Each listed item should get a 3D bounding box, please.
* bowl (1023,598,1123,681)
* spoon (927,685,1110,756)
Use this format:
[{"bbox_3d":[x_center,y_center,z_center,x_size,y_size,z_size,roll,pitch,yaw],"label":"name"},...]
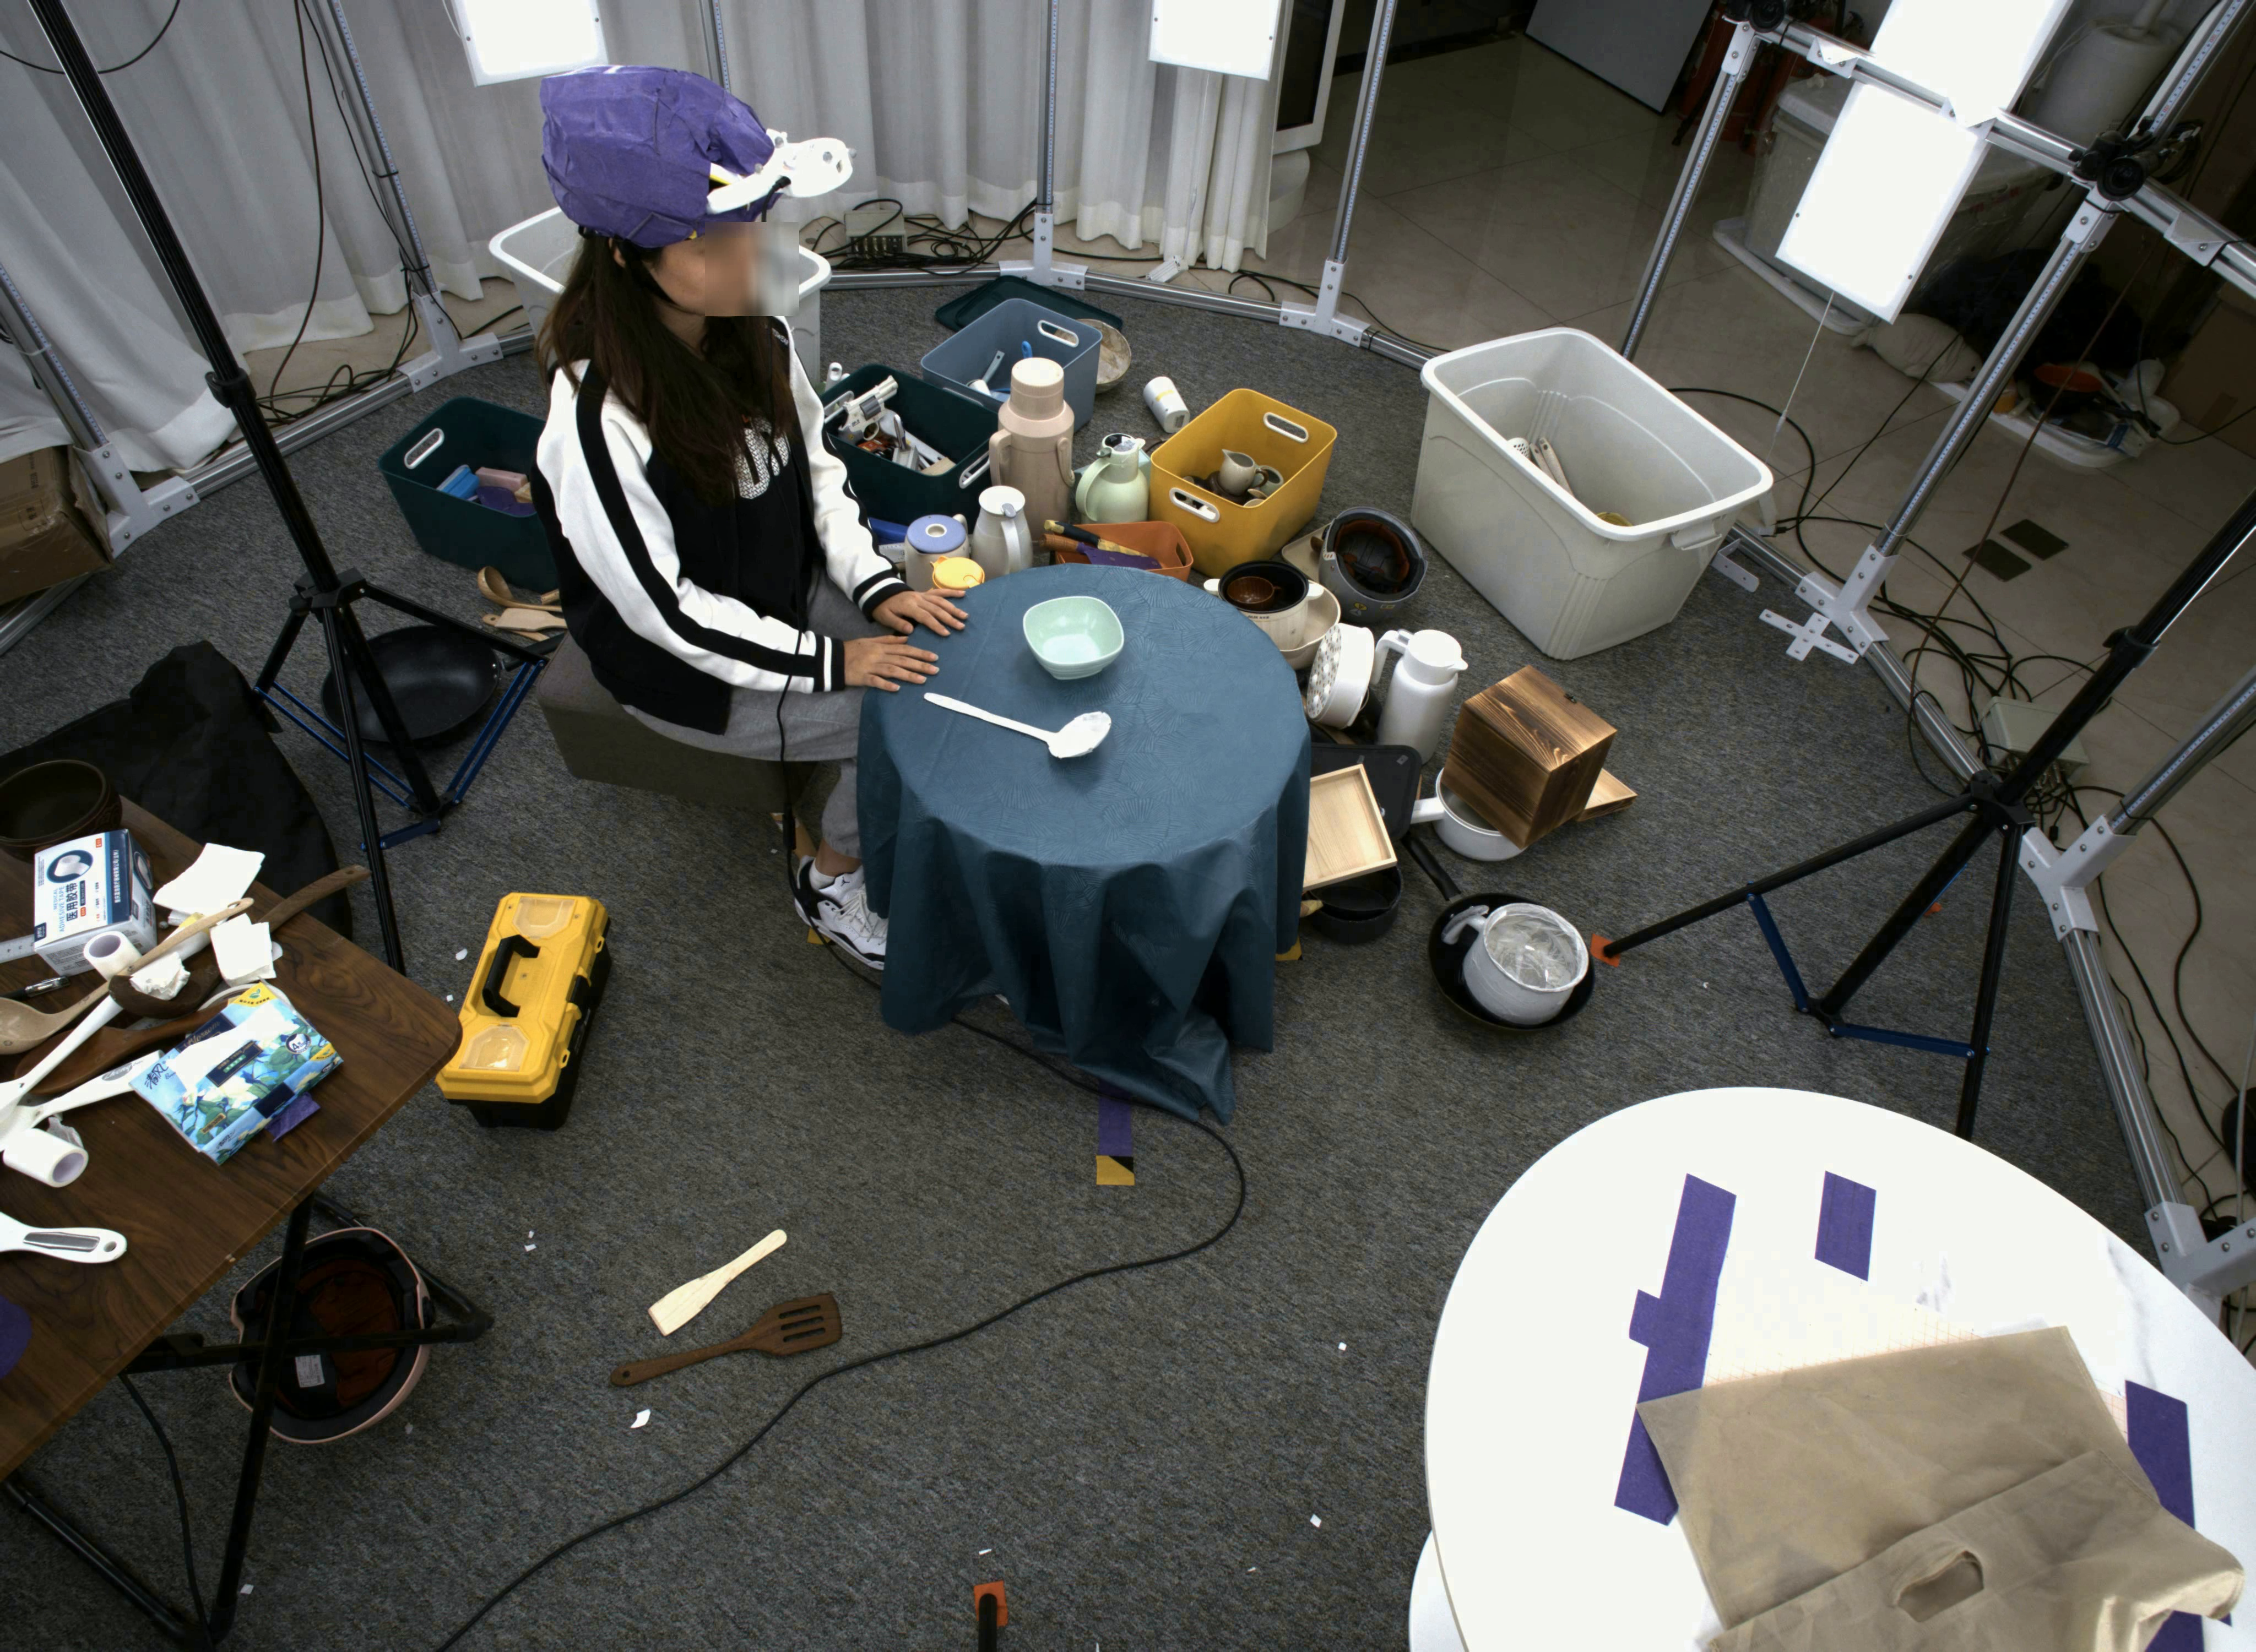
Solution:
[{"bbox_3d":[-0.080,-0.261,1.858,0.151,0.057,0.155,2,49,-2],"label":"bowl"},{"bbox_3d":[-0.154,-0.163,1.764,0.279,0.058,0.102,23,47,15],"label":"spoon"}]
